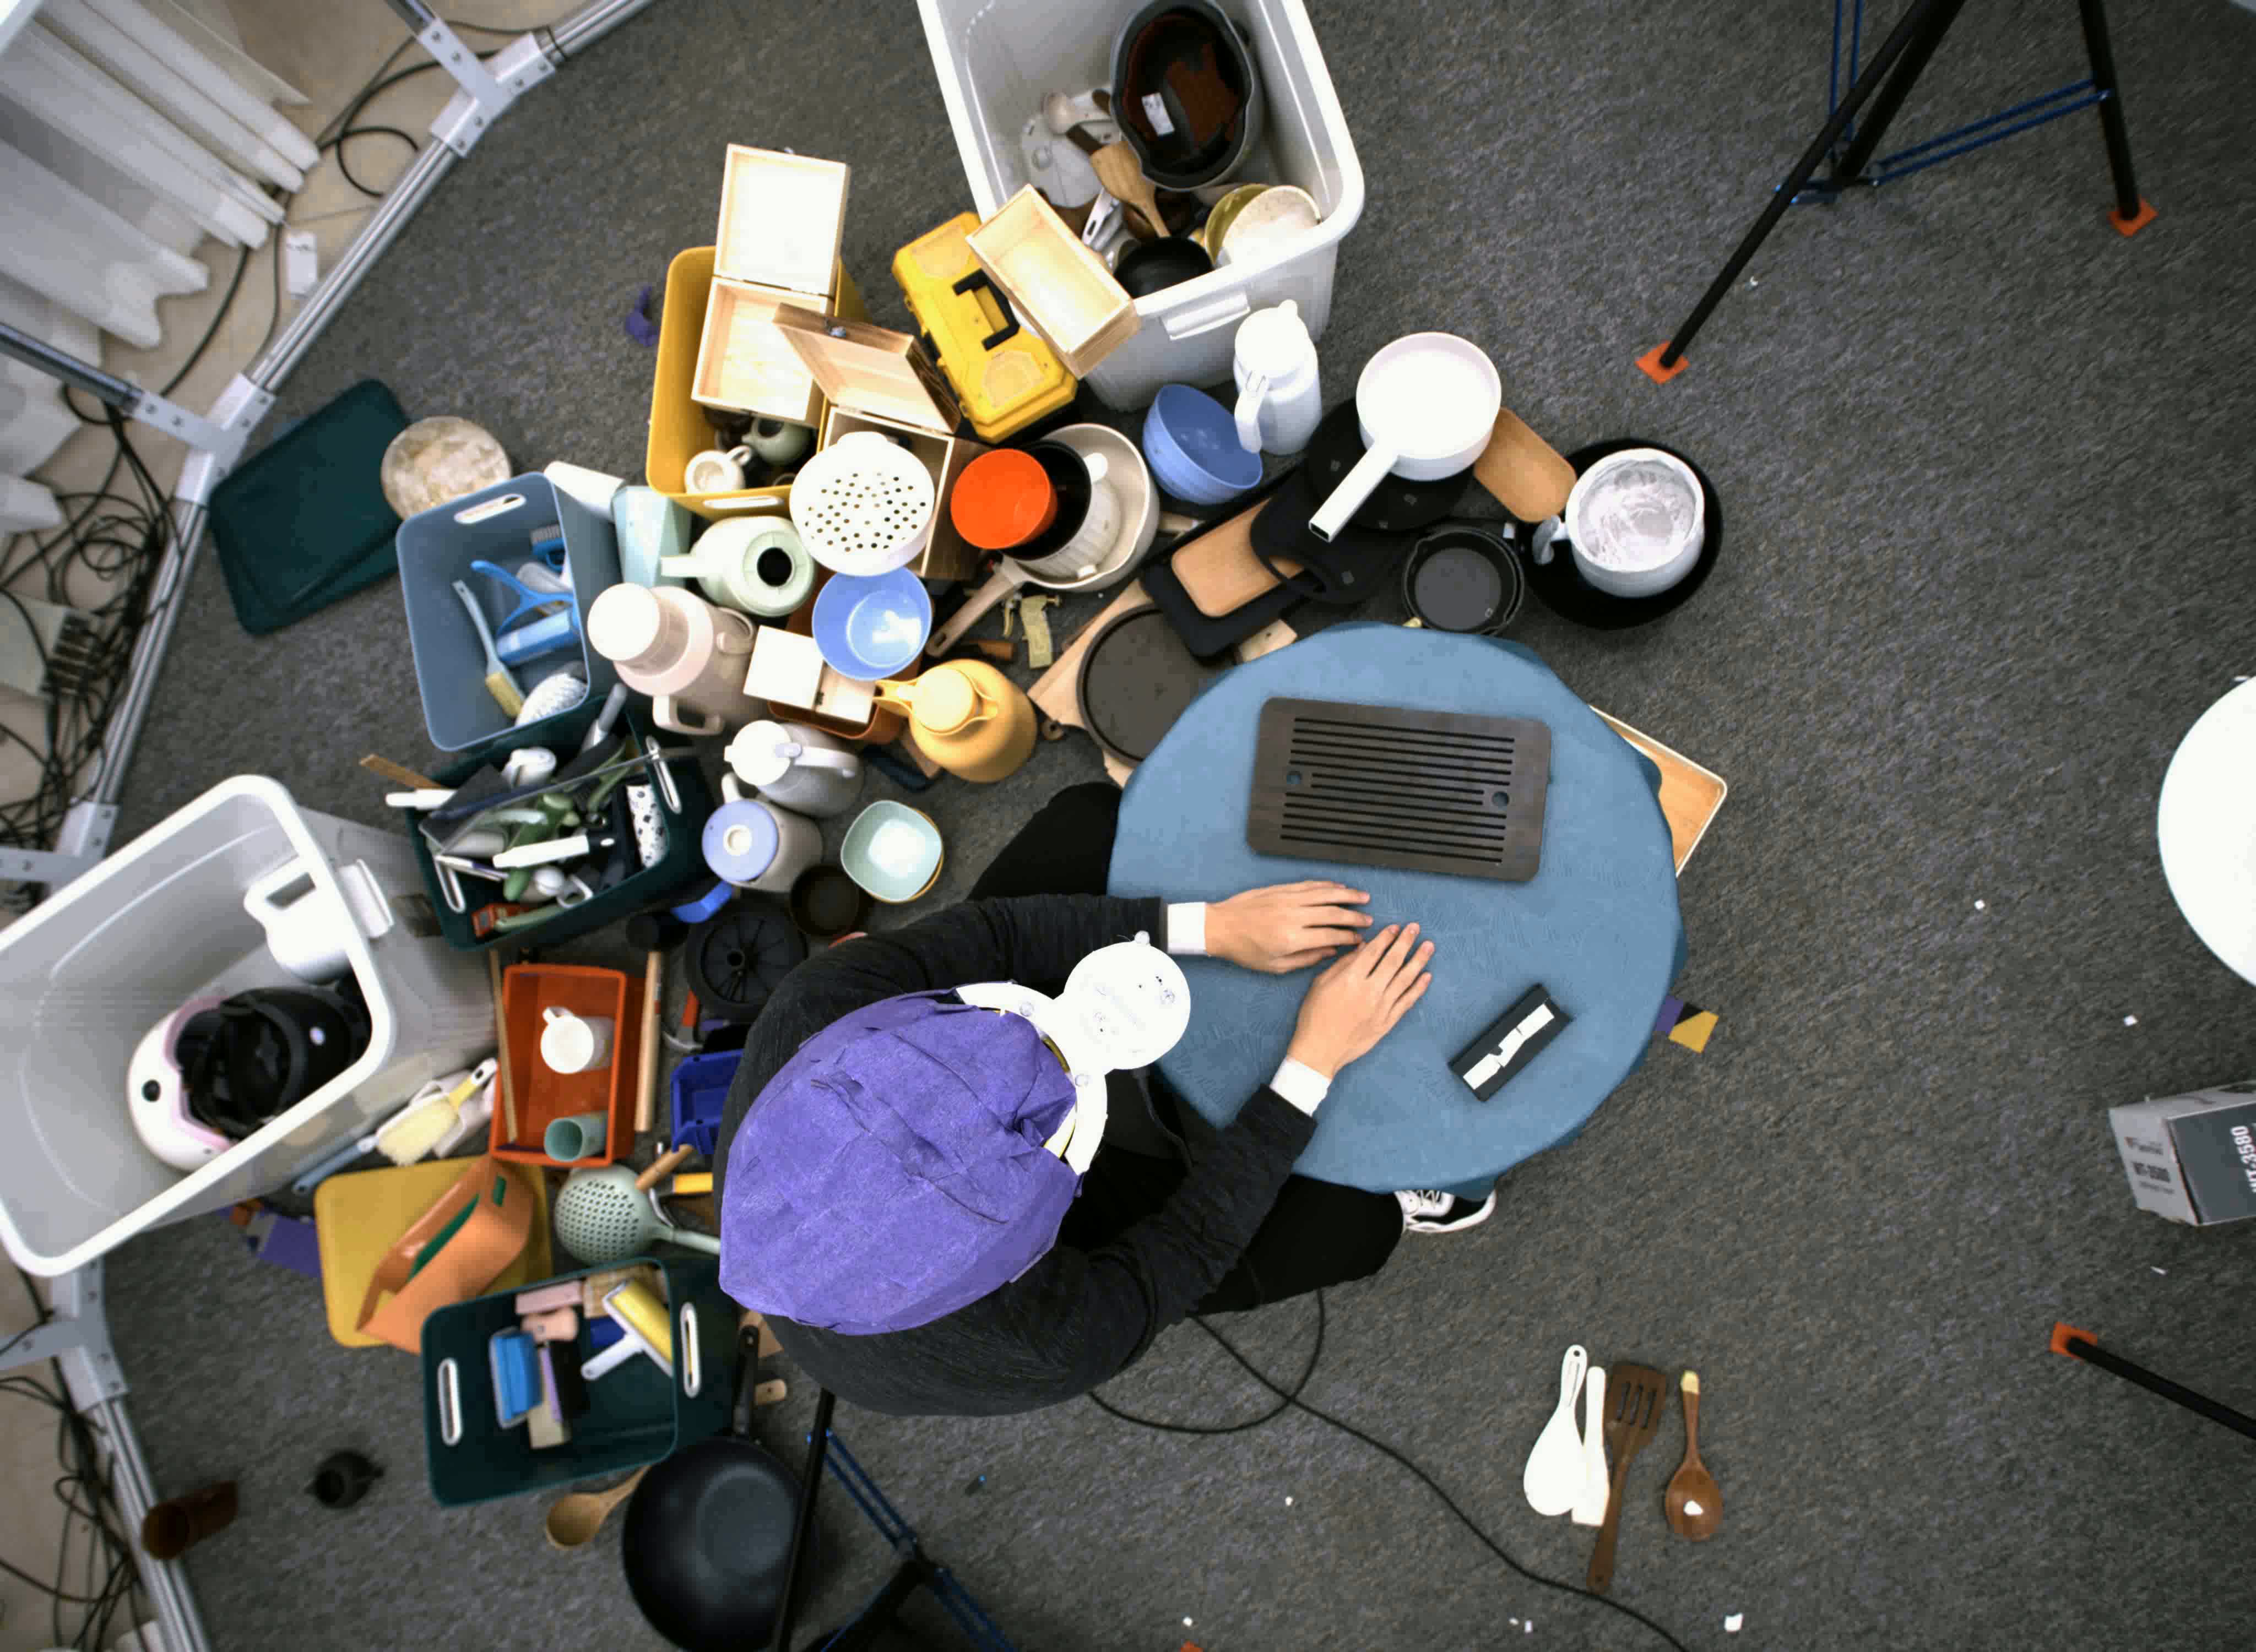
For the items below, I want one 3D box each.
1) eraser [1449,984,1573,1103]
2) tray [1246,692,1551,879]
[{"bbox_3d":[0.393,0.220,1.415,0.126,0.030,0.053,-45,78,6],"label":"eraser"},{"bbox_3d":[0.284,-0.046,1.455,0.307,0.018,0.169,6,88,11],"label":"tray"}]
